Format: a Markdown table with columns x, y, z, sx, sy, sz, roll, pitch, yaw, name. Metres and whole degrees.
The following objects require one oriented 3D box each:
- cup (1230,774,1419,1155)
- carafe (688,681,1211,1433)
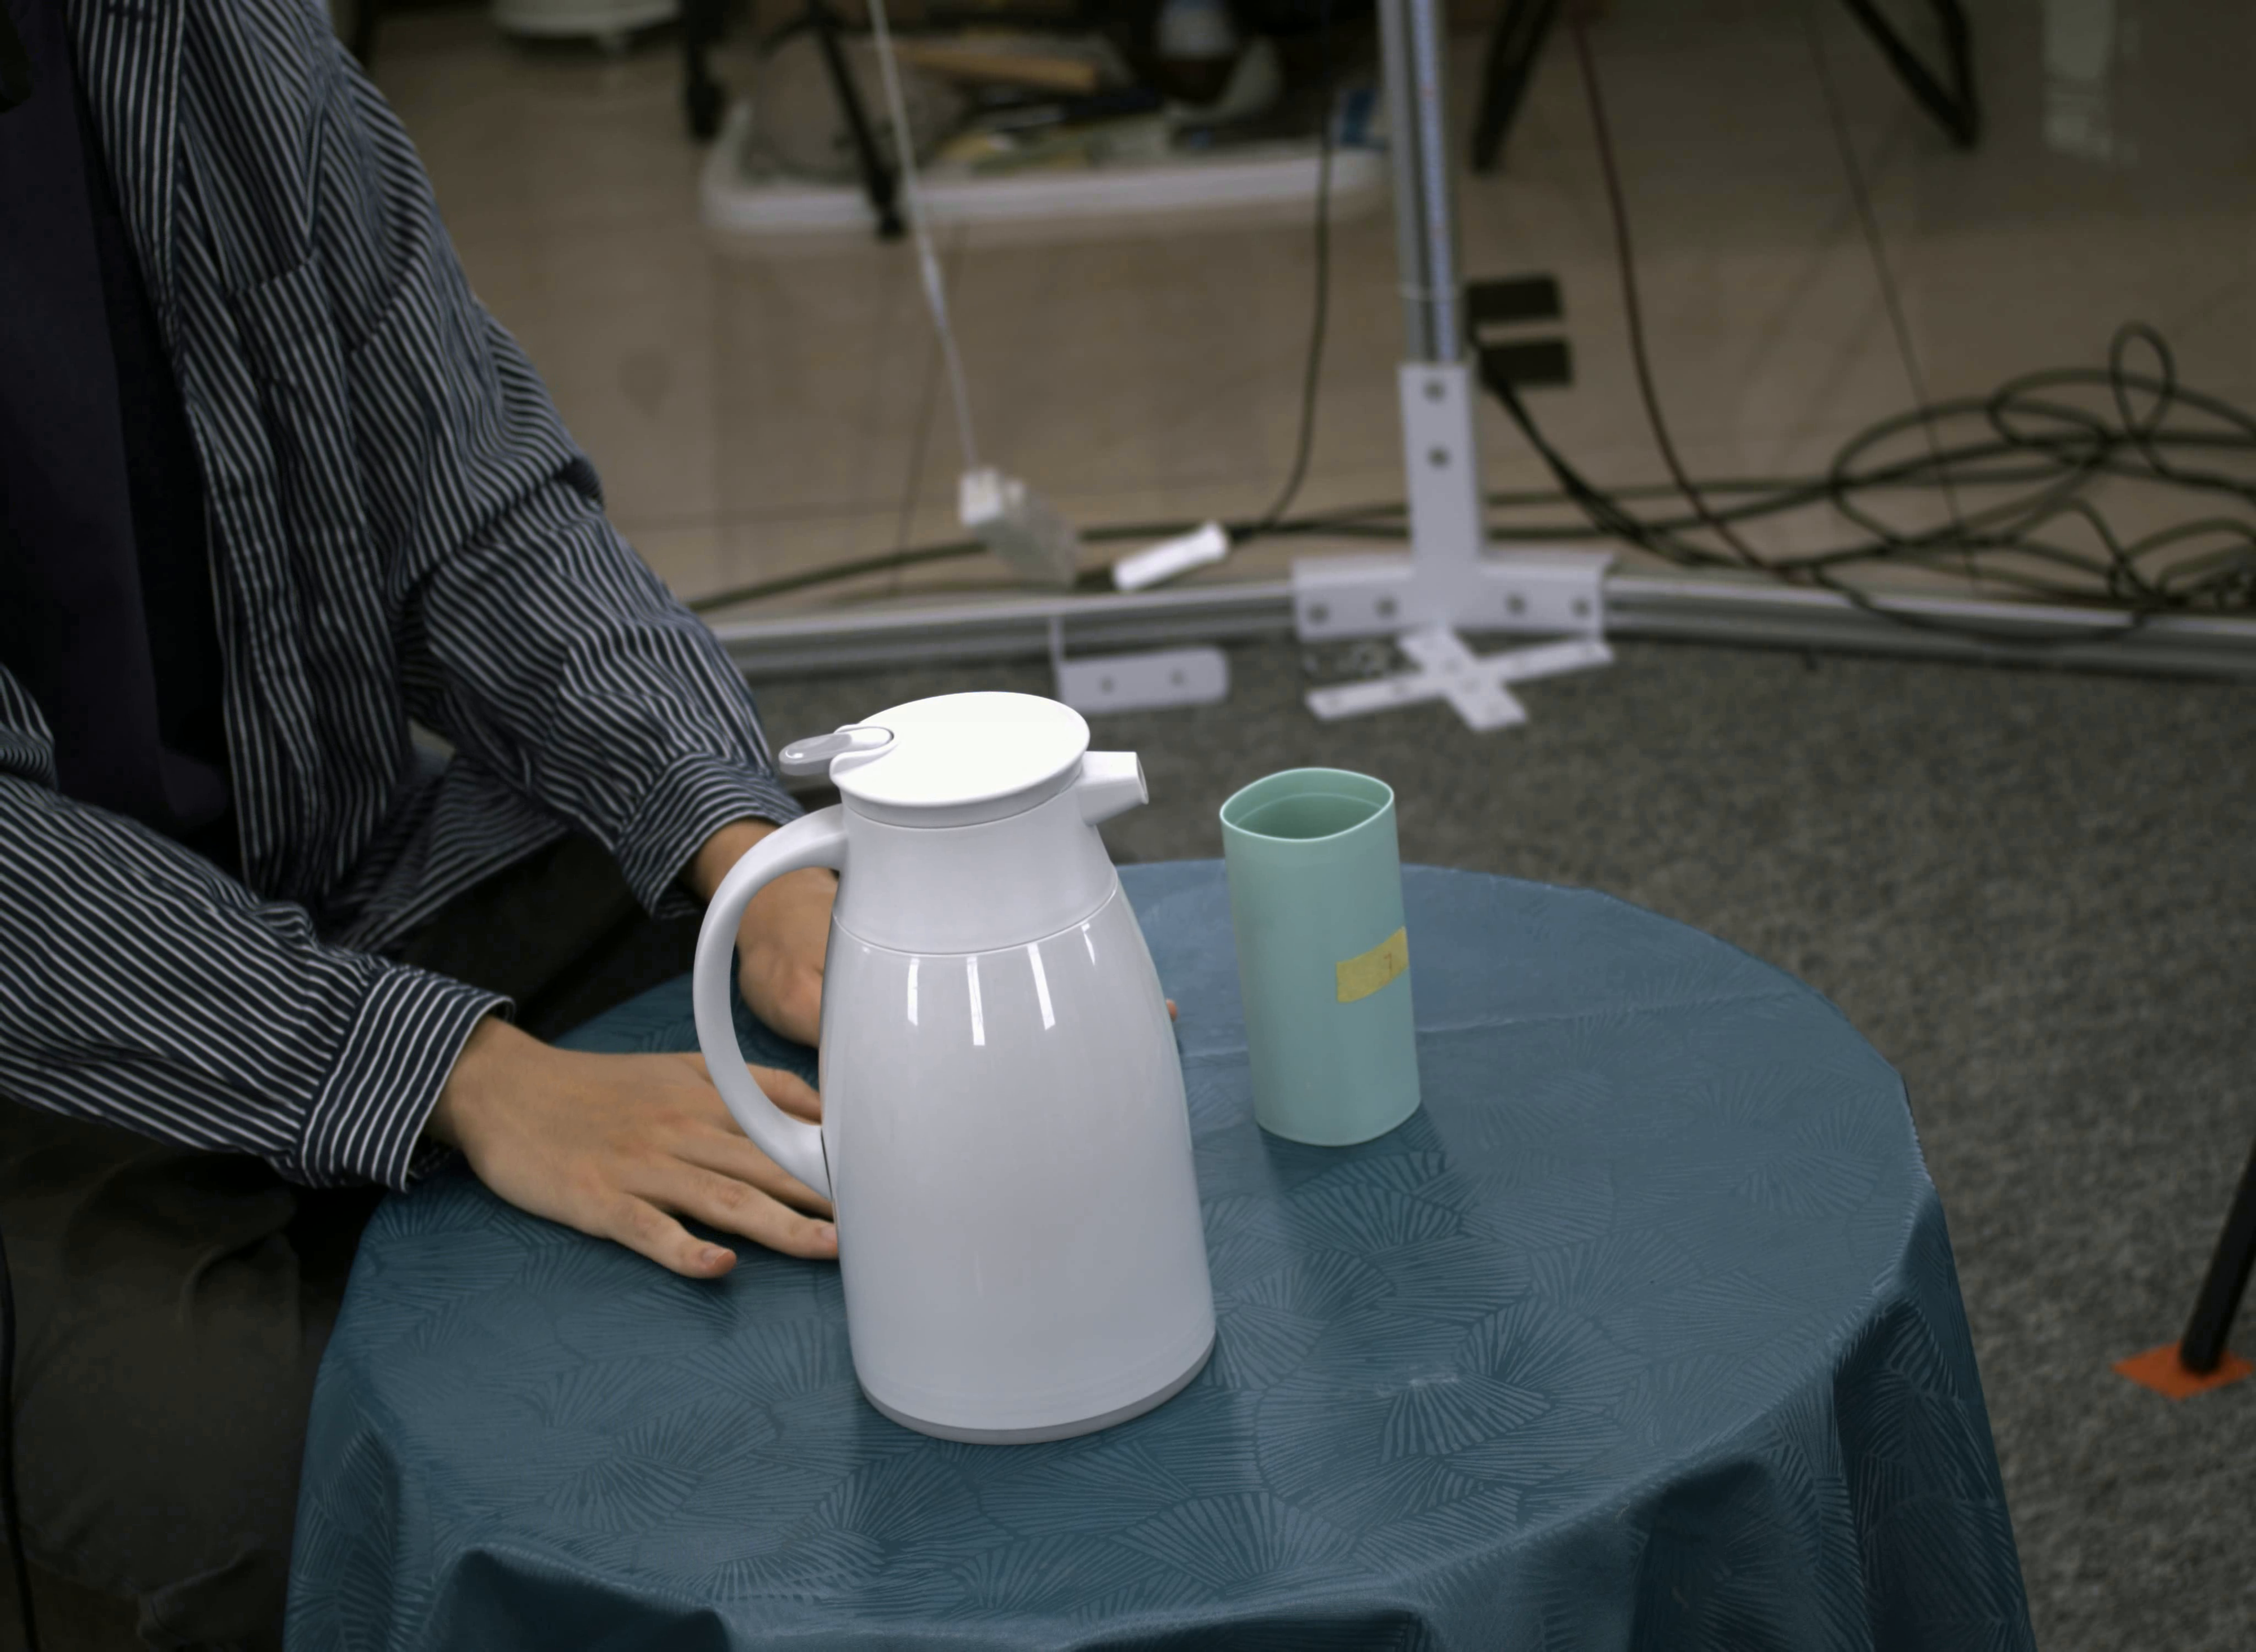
| x | y | z | sx | sy | sz | roll | pitch | yaw | name |
| --- | --- | --- | --- | --- | --- | --- | --- | --- | --- |
| 0.075 | 0.052 | 2.166 | 0.066 | 0.134 | 0.066 | -4 | 27 | 2 | cup |
| -0.067 | 0.077 | 1.993 | 0.167 | 0.253 | 0.130 | -8 | 27 | -1 | carafe |
